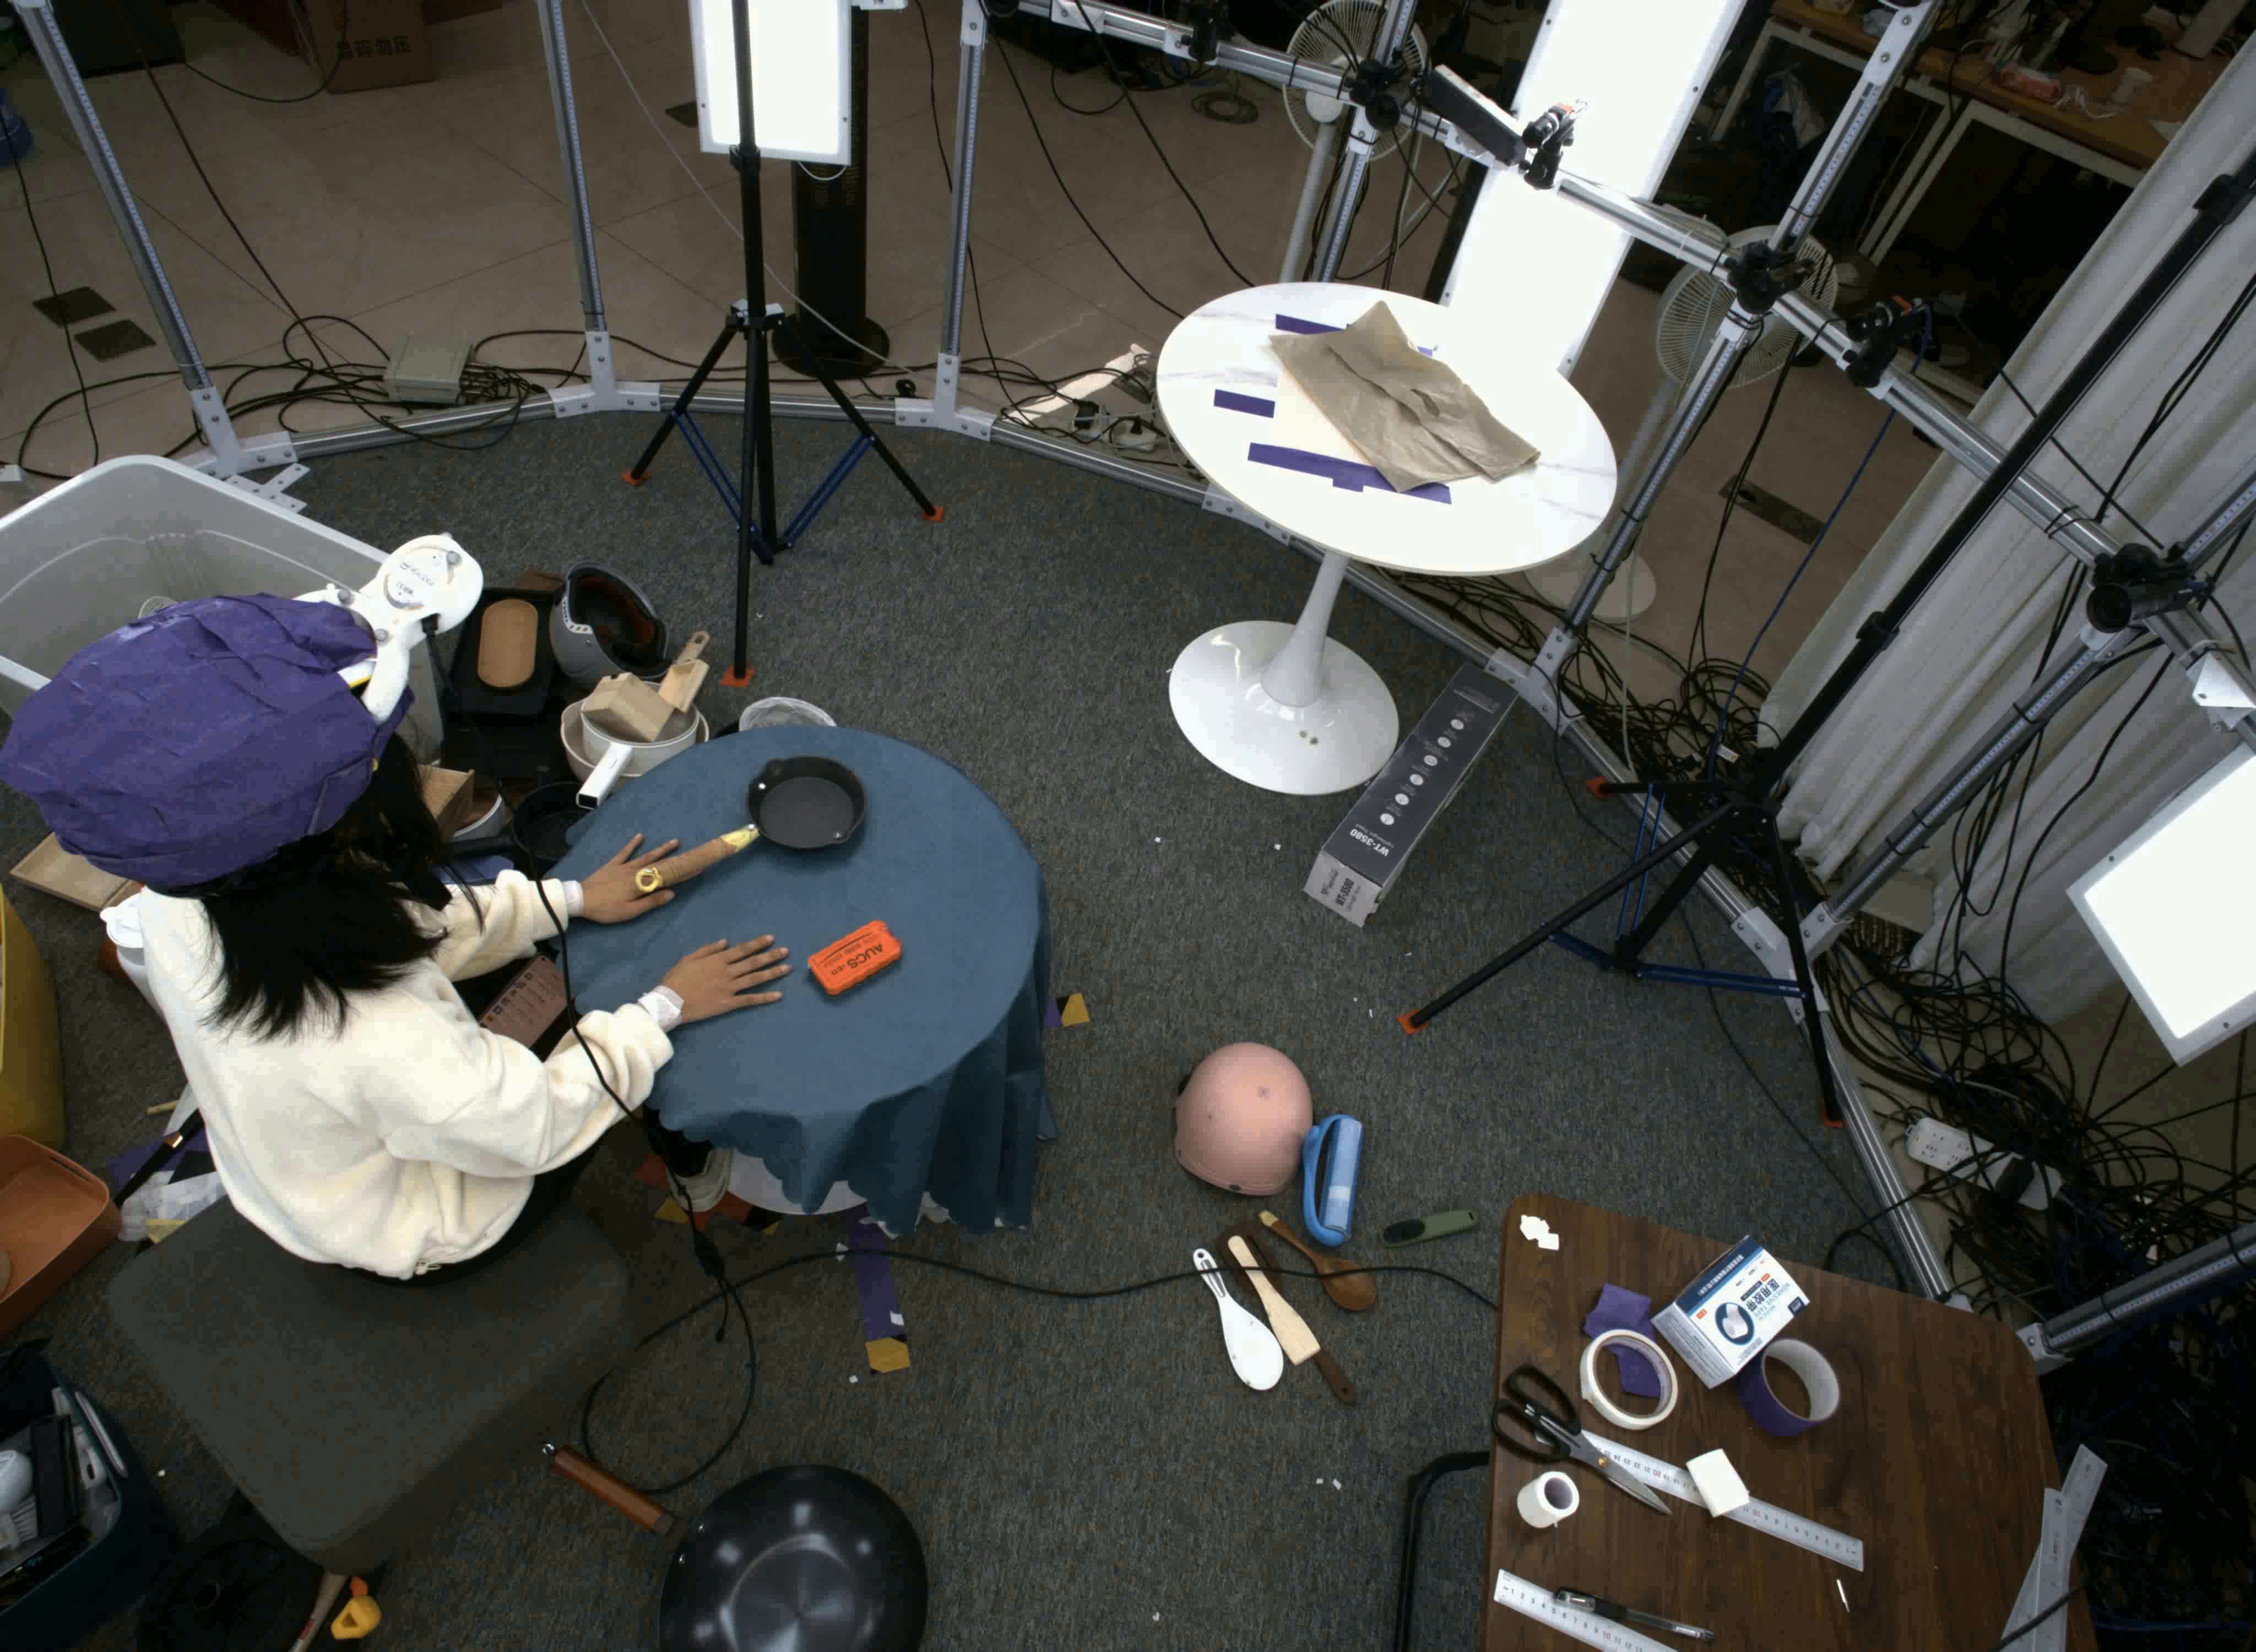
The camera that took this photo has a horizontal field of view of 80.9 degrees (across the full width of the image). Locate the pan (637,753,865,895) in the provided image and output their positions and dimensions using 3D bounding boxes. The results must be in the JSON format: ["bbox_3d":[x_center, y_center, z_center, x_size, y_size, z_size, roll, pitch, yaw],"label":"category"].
[{"bbox_3d":[-0.487,0.007,1.664,0.325,0.050,0.165,-32,67,-33],"label":"pan"}]

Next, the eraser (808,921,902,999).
[{"bbox_3d":[-0.337,0.162,1.605,0.108,0.023,0.057,-30,65,-31],"label":"eraser"}]
